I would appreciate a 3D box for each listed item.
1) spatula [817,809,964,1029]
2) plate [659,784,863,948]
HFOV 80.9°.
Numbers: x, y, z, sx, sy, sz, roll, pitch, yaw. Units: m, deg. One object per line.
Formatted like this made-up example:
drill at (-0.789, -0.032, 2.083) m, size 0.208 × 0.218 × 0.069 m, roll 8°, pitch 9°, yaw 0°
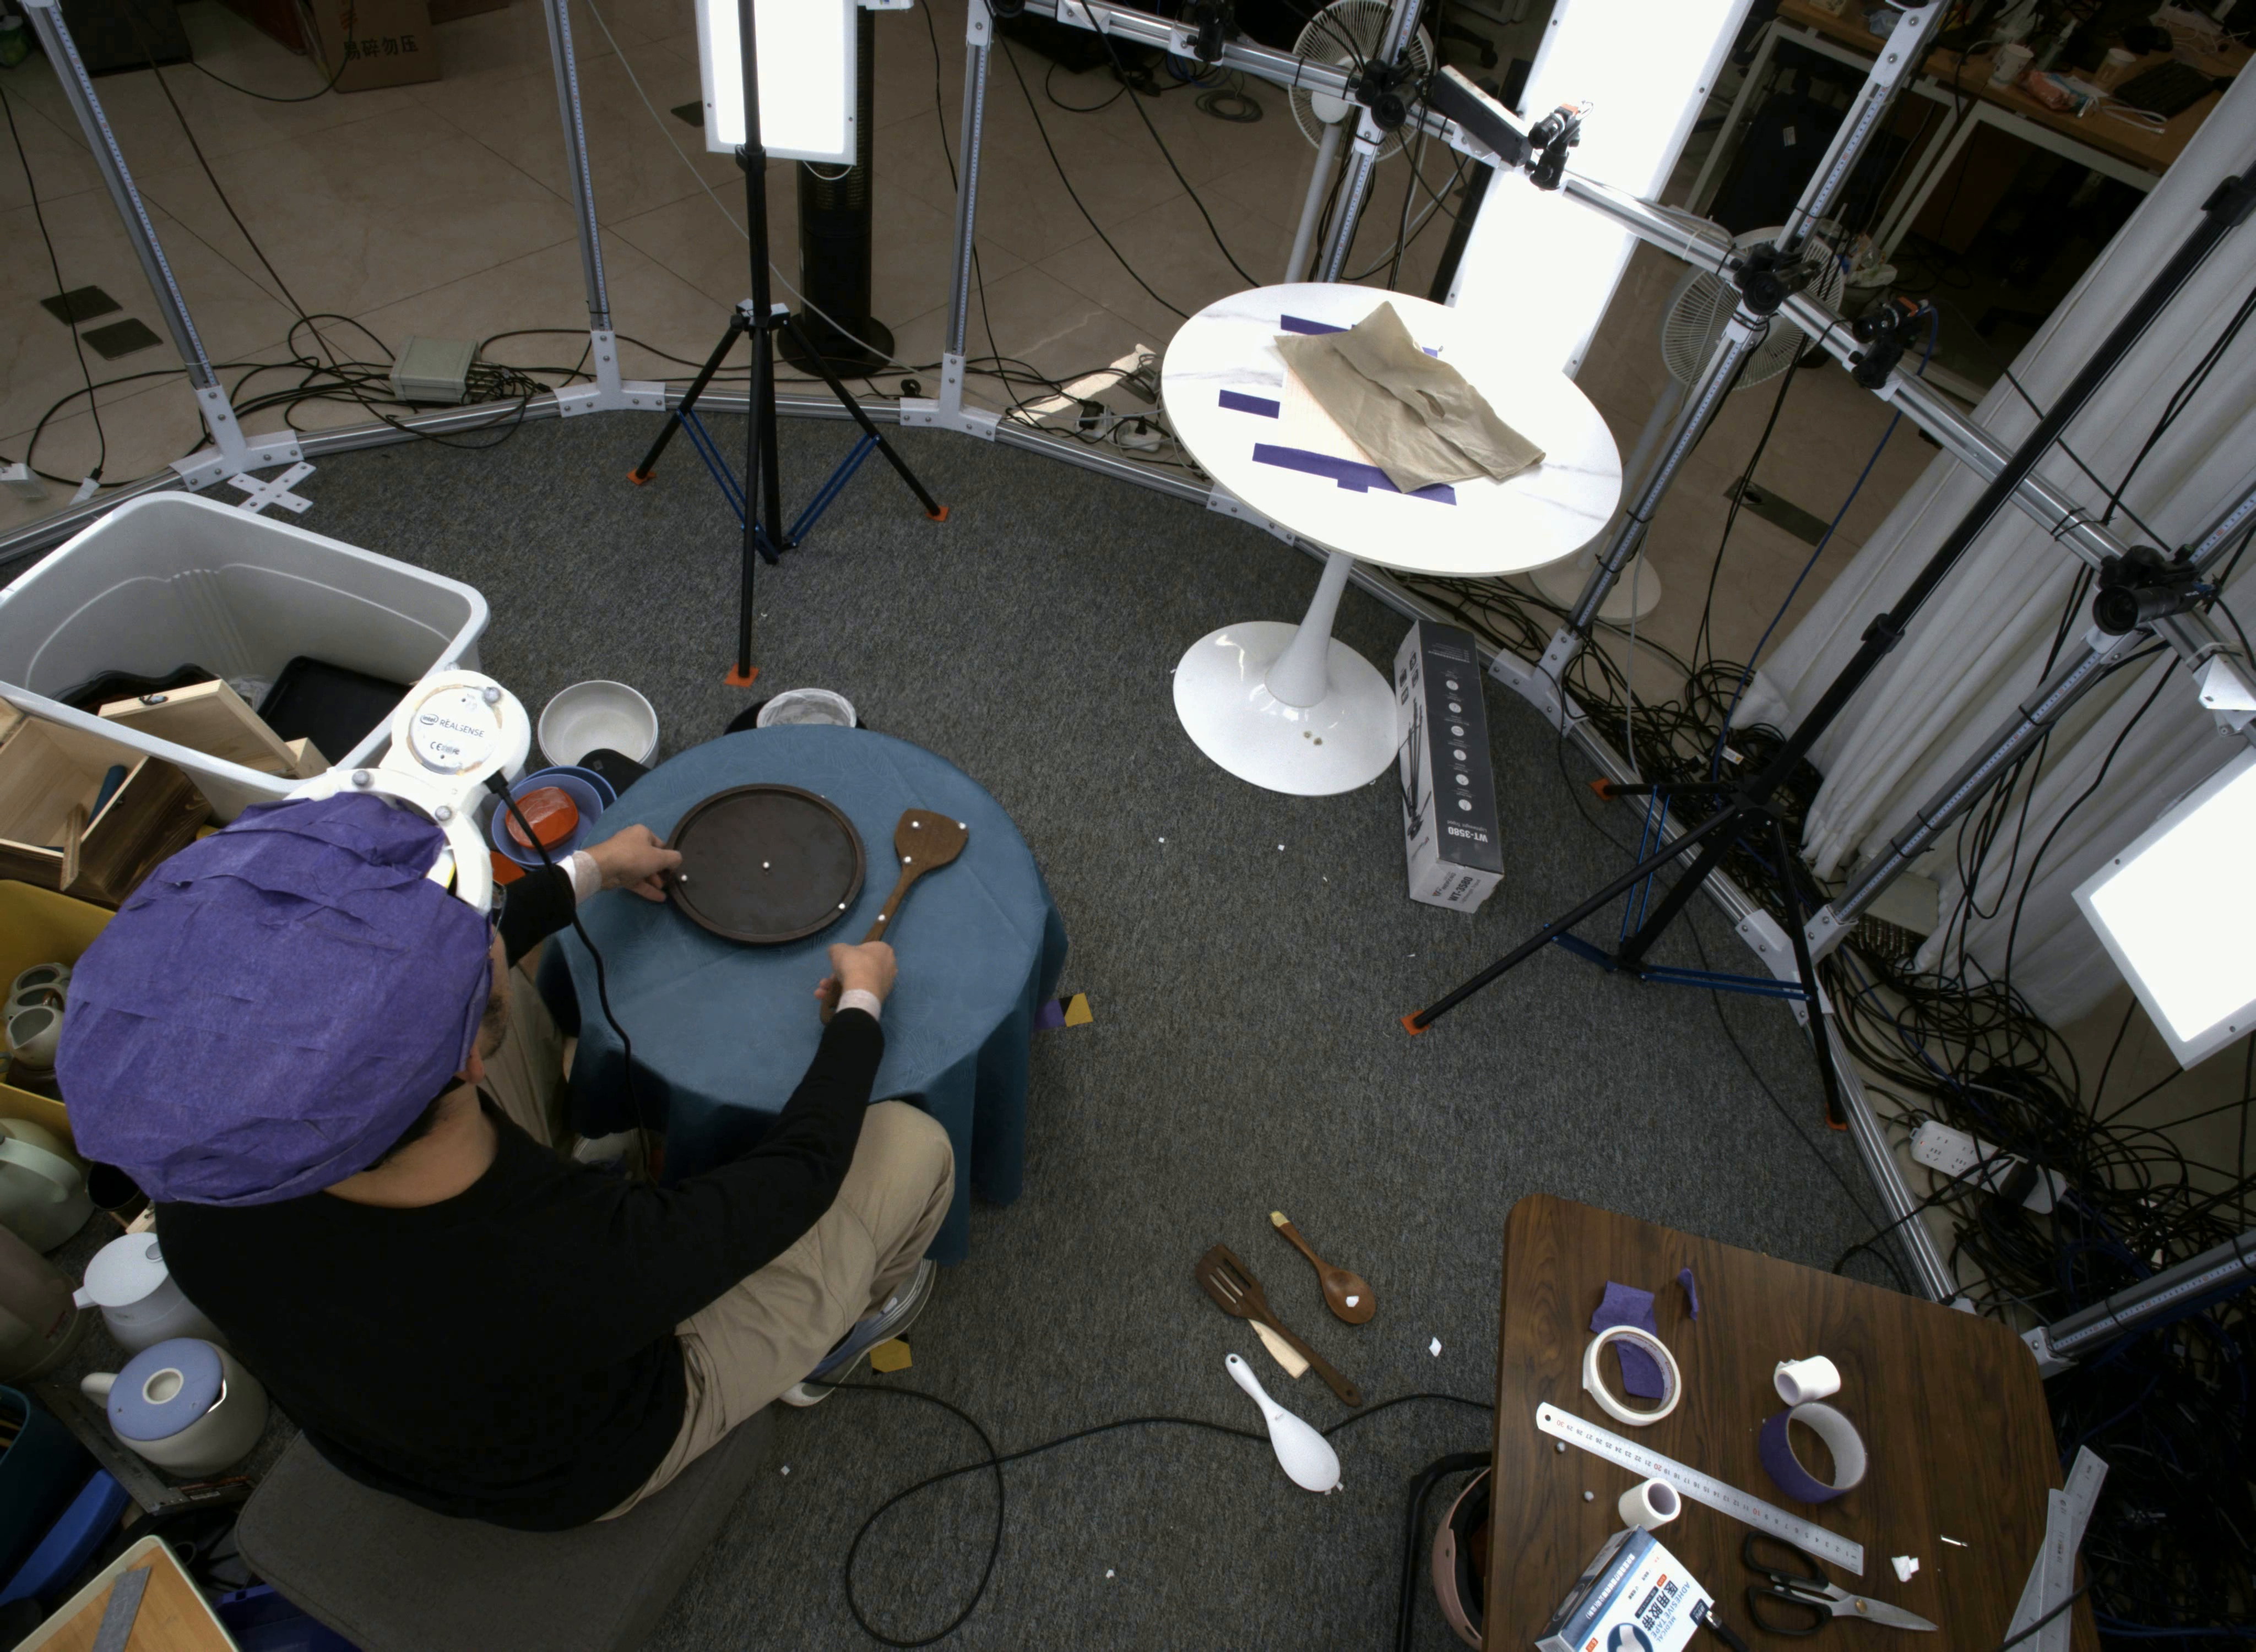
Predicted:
spatula at (-0.306, 0.106, 1.634) m, size 0.095 × 0.016 × 0.381 m, roll 20°, pitch 42°, yaw 0°
plate at (-0.467, 0.047, 1.651) m, size 0.255 × 0.029 × 0.250 m, roll 10°, pitch 52°, yaw -12°
